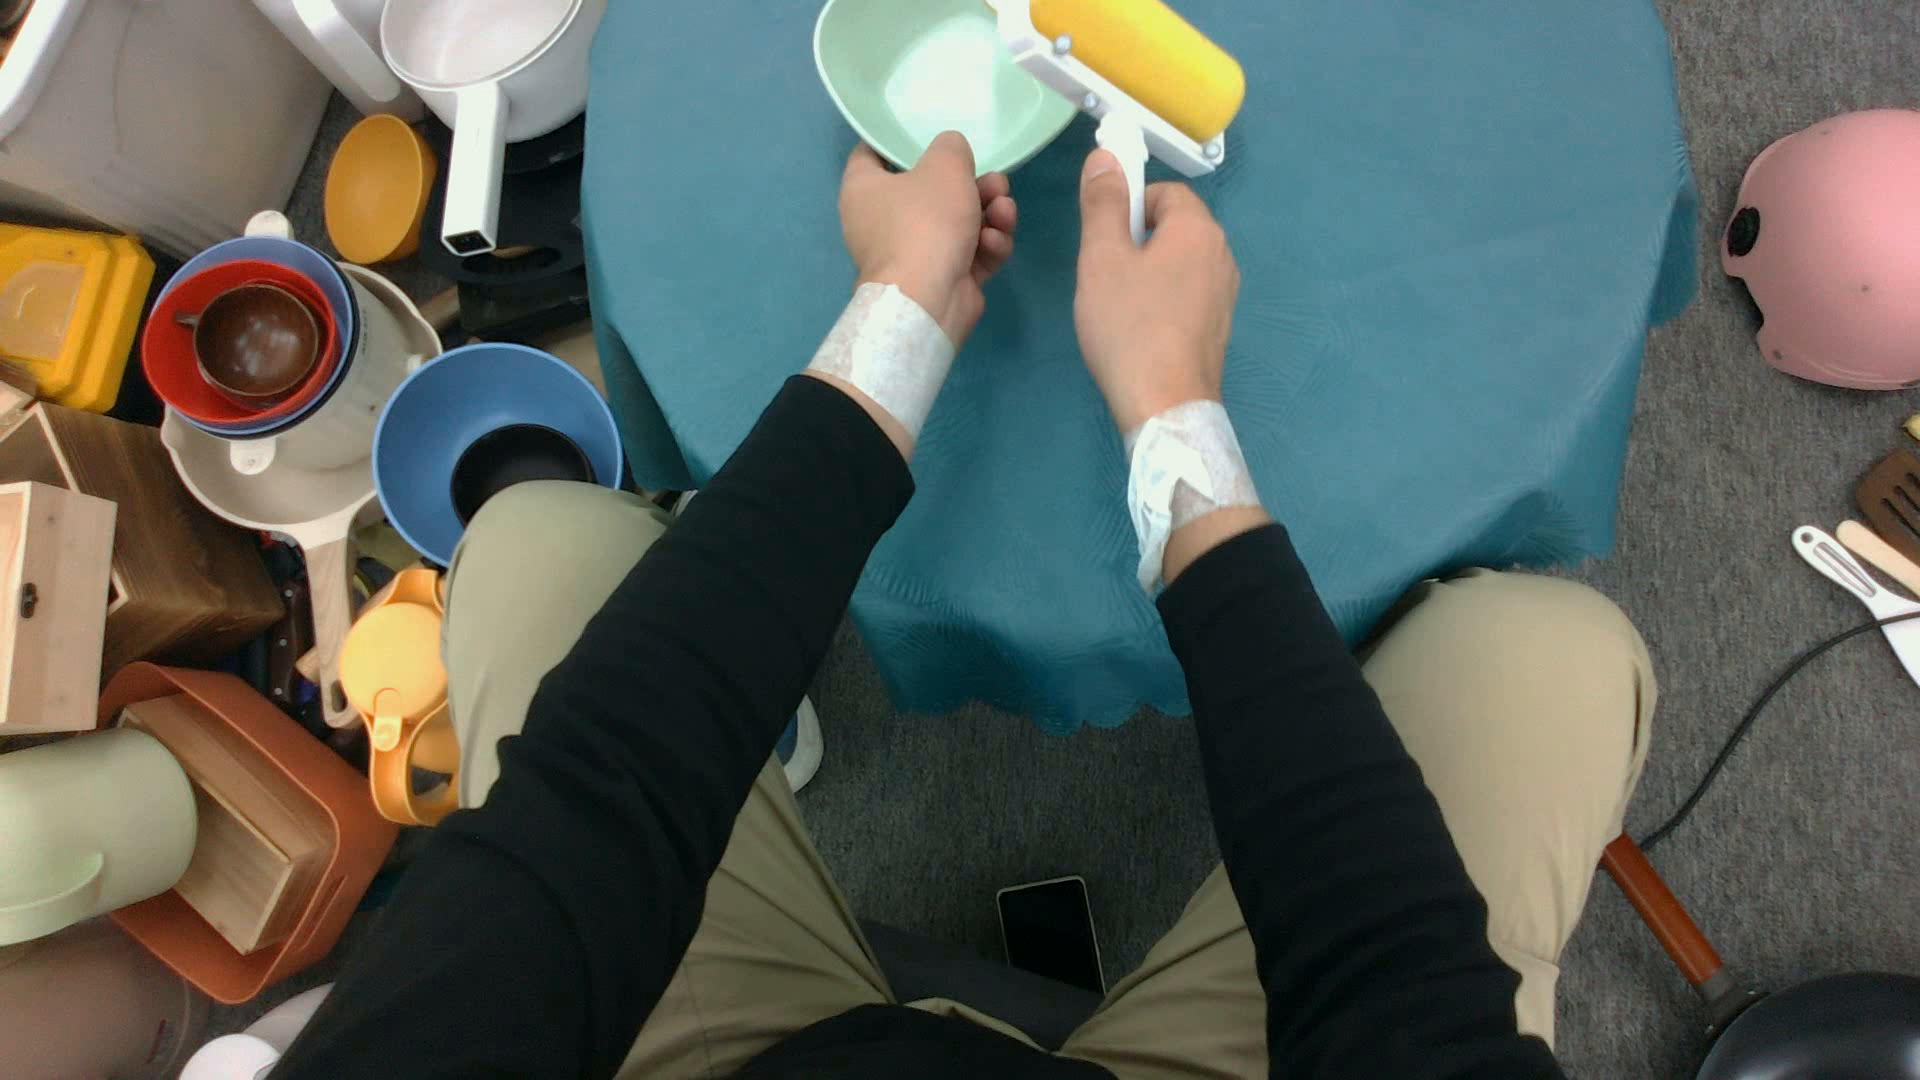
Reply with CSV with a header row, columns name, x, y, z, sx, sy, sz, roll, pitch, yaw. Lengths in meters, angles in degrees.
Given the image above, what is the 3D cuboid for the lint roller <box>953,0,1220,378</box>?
name,x,y,z,sx,sy,sz,roll,pitch,yaw
lint roller,0.080,-0.173,0.658,0.051,0.174,0.192,-25,68,36

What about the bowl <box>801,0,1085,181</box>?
name,x,y,z,sx,sy,sz,roll,pitch,yaw
bowl,-0.006,-0.254,0.737,0.151,0.058,0.151,-1,79,3
